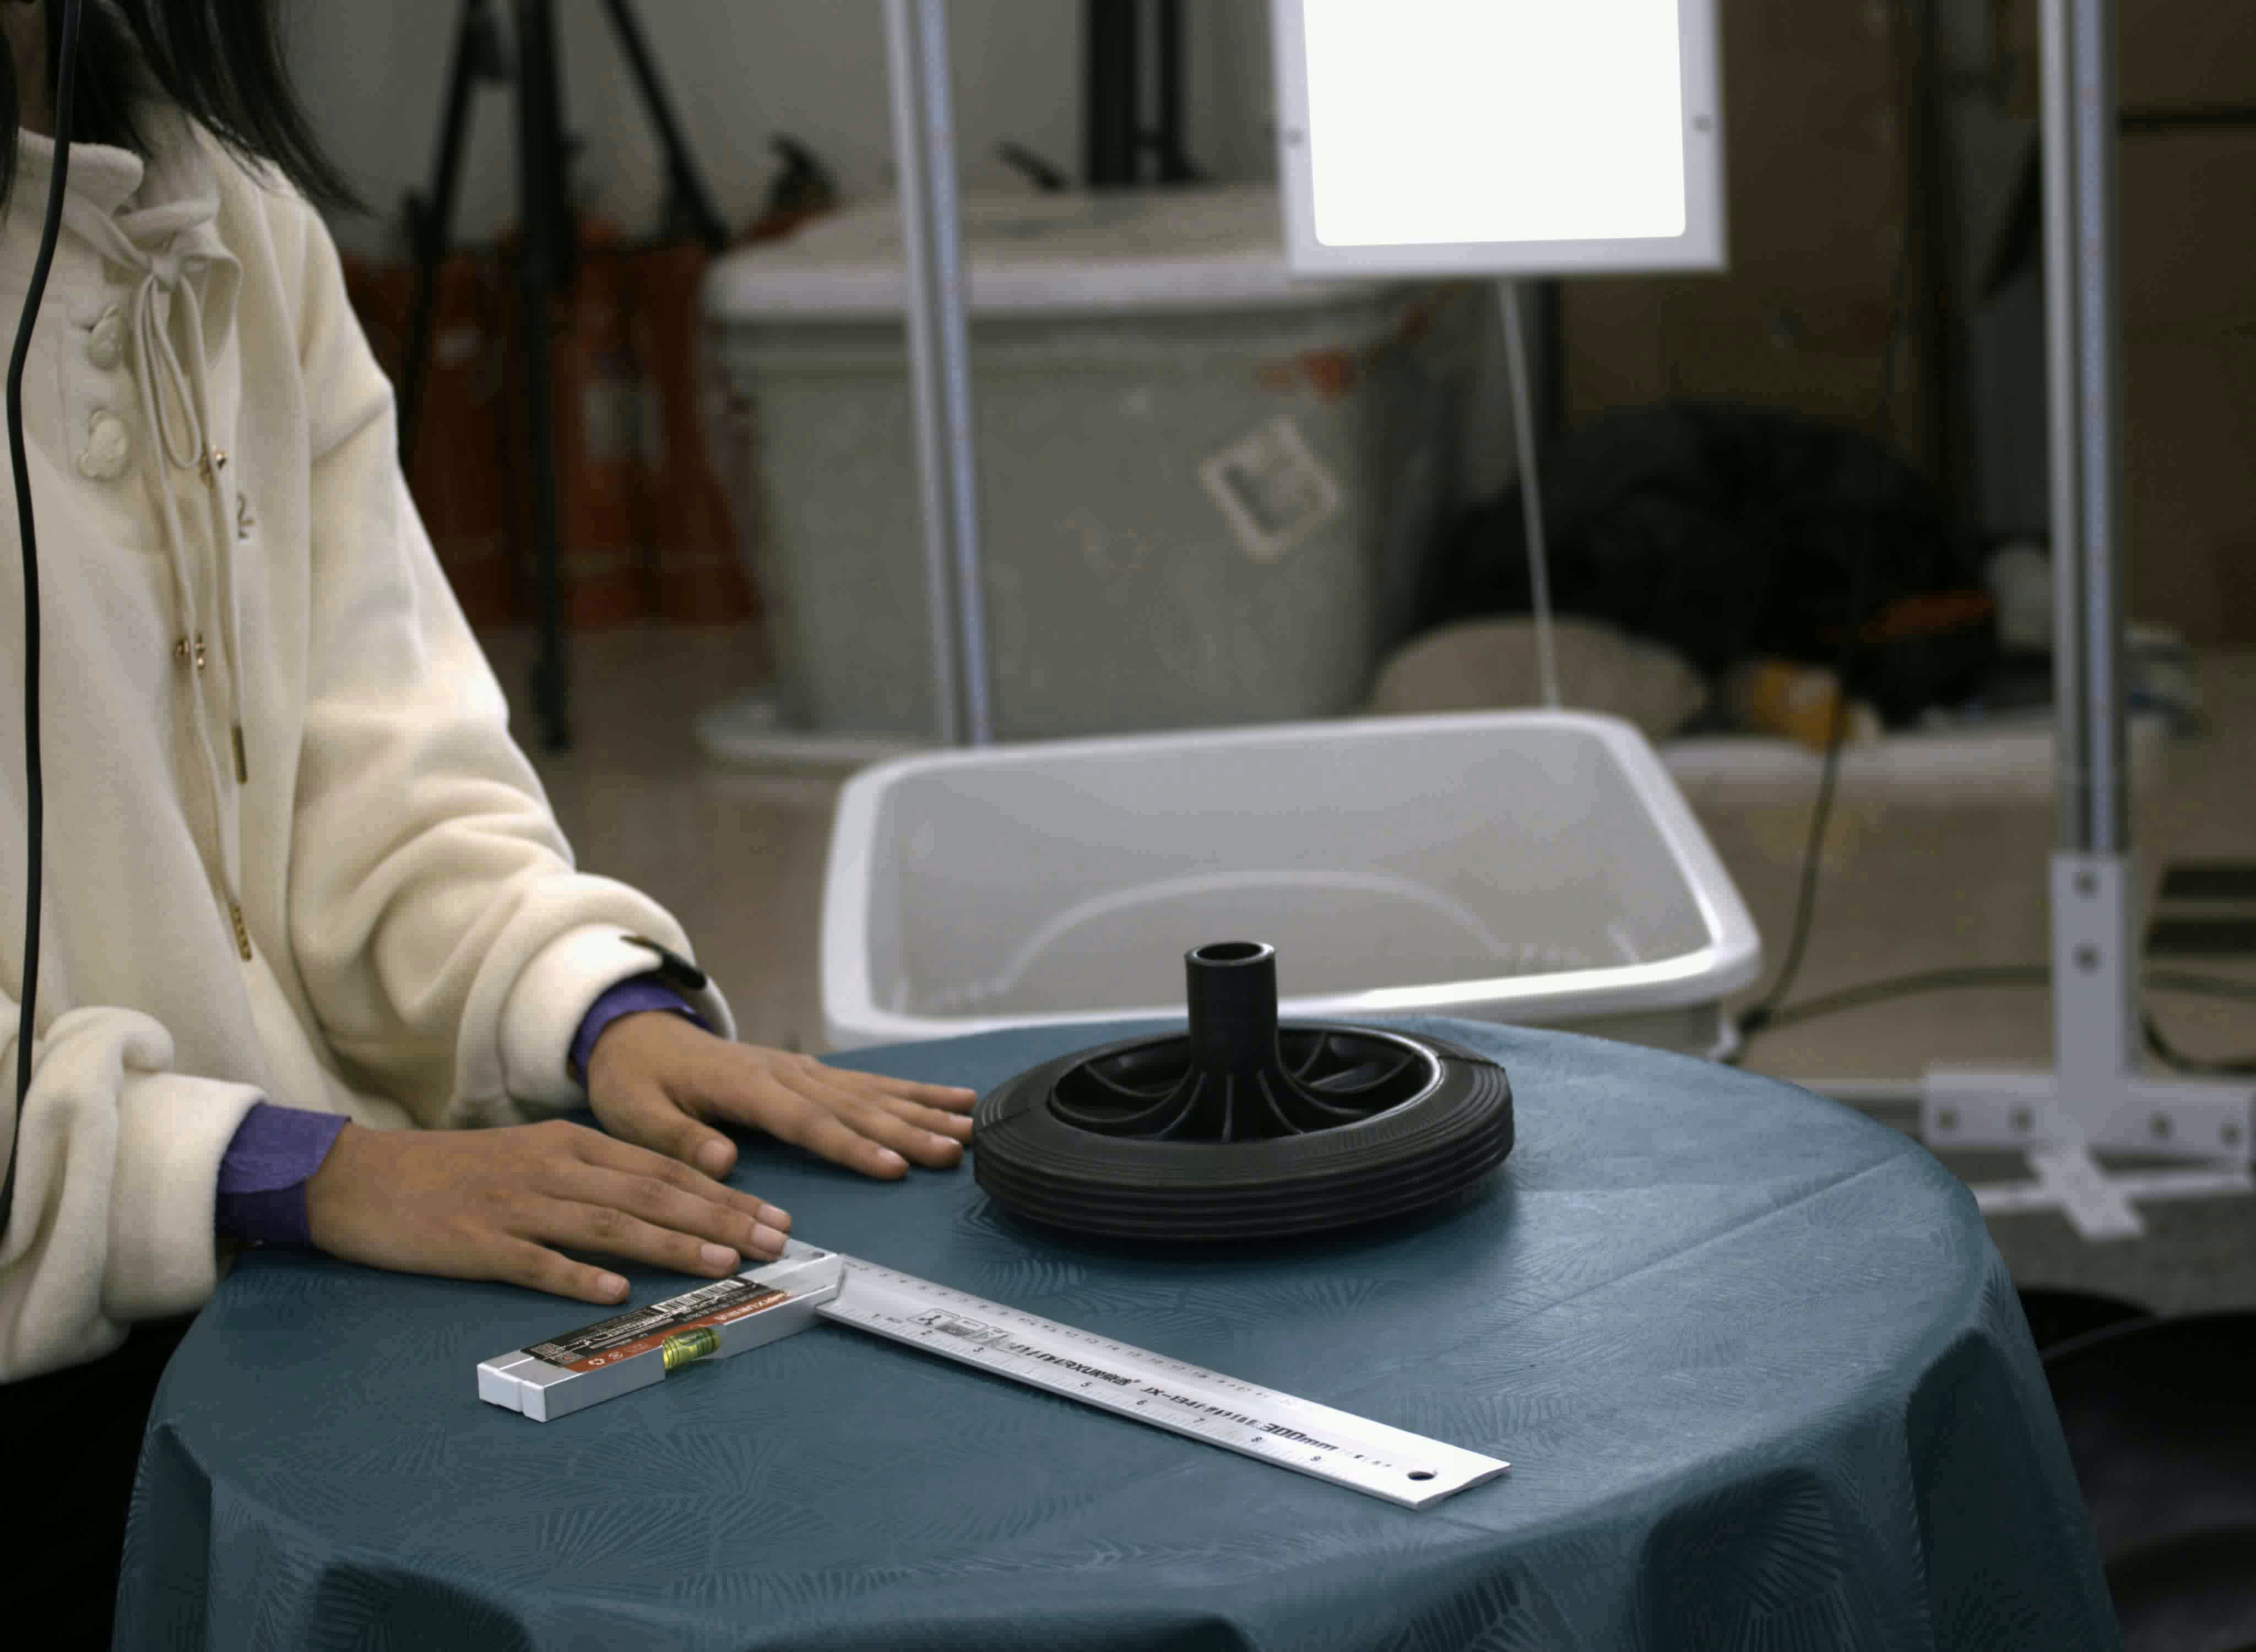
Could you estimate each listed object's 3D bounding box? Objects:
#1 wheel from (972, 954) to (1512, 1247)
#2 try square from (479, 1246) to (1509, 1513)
[{"bbox_3d":[0.038,0.086,1.891,0.191,0.079,0.186,2,15,27],"label":"wheel"},{"bbox_3d":[-0.047,0.184,1.678,0.148,0.016,0.319,-21,21,-37],"label":"try square"}]
